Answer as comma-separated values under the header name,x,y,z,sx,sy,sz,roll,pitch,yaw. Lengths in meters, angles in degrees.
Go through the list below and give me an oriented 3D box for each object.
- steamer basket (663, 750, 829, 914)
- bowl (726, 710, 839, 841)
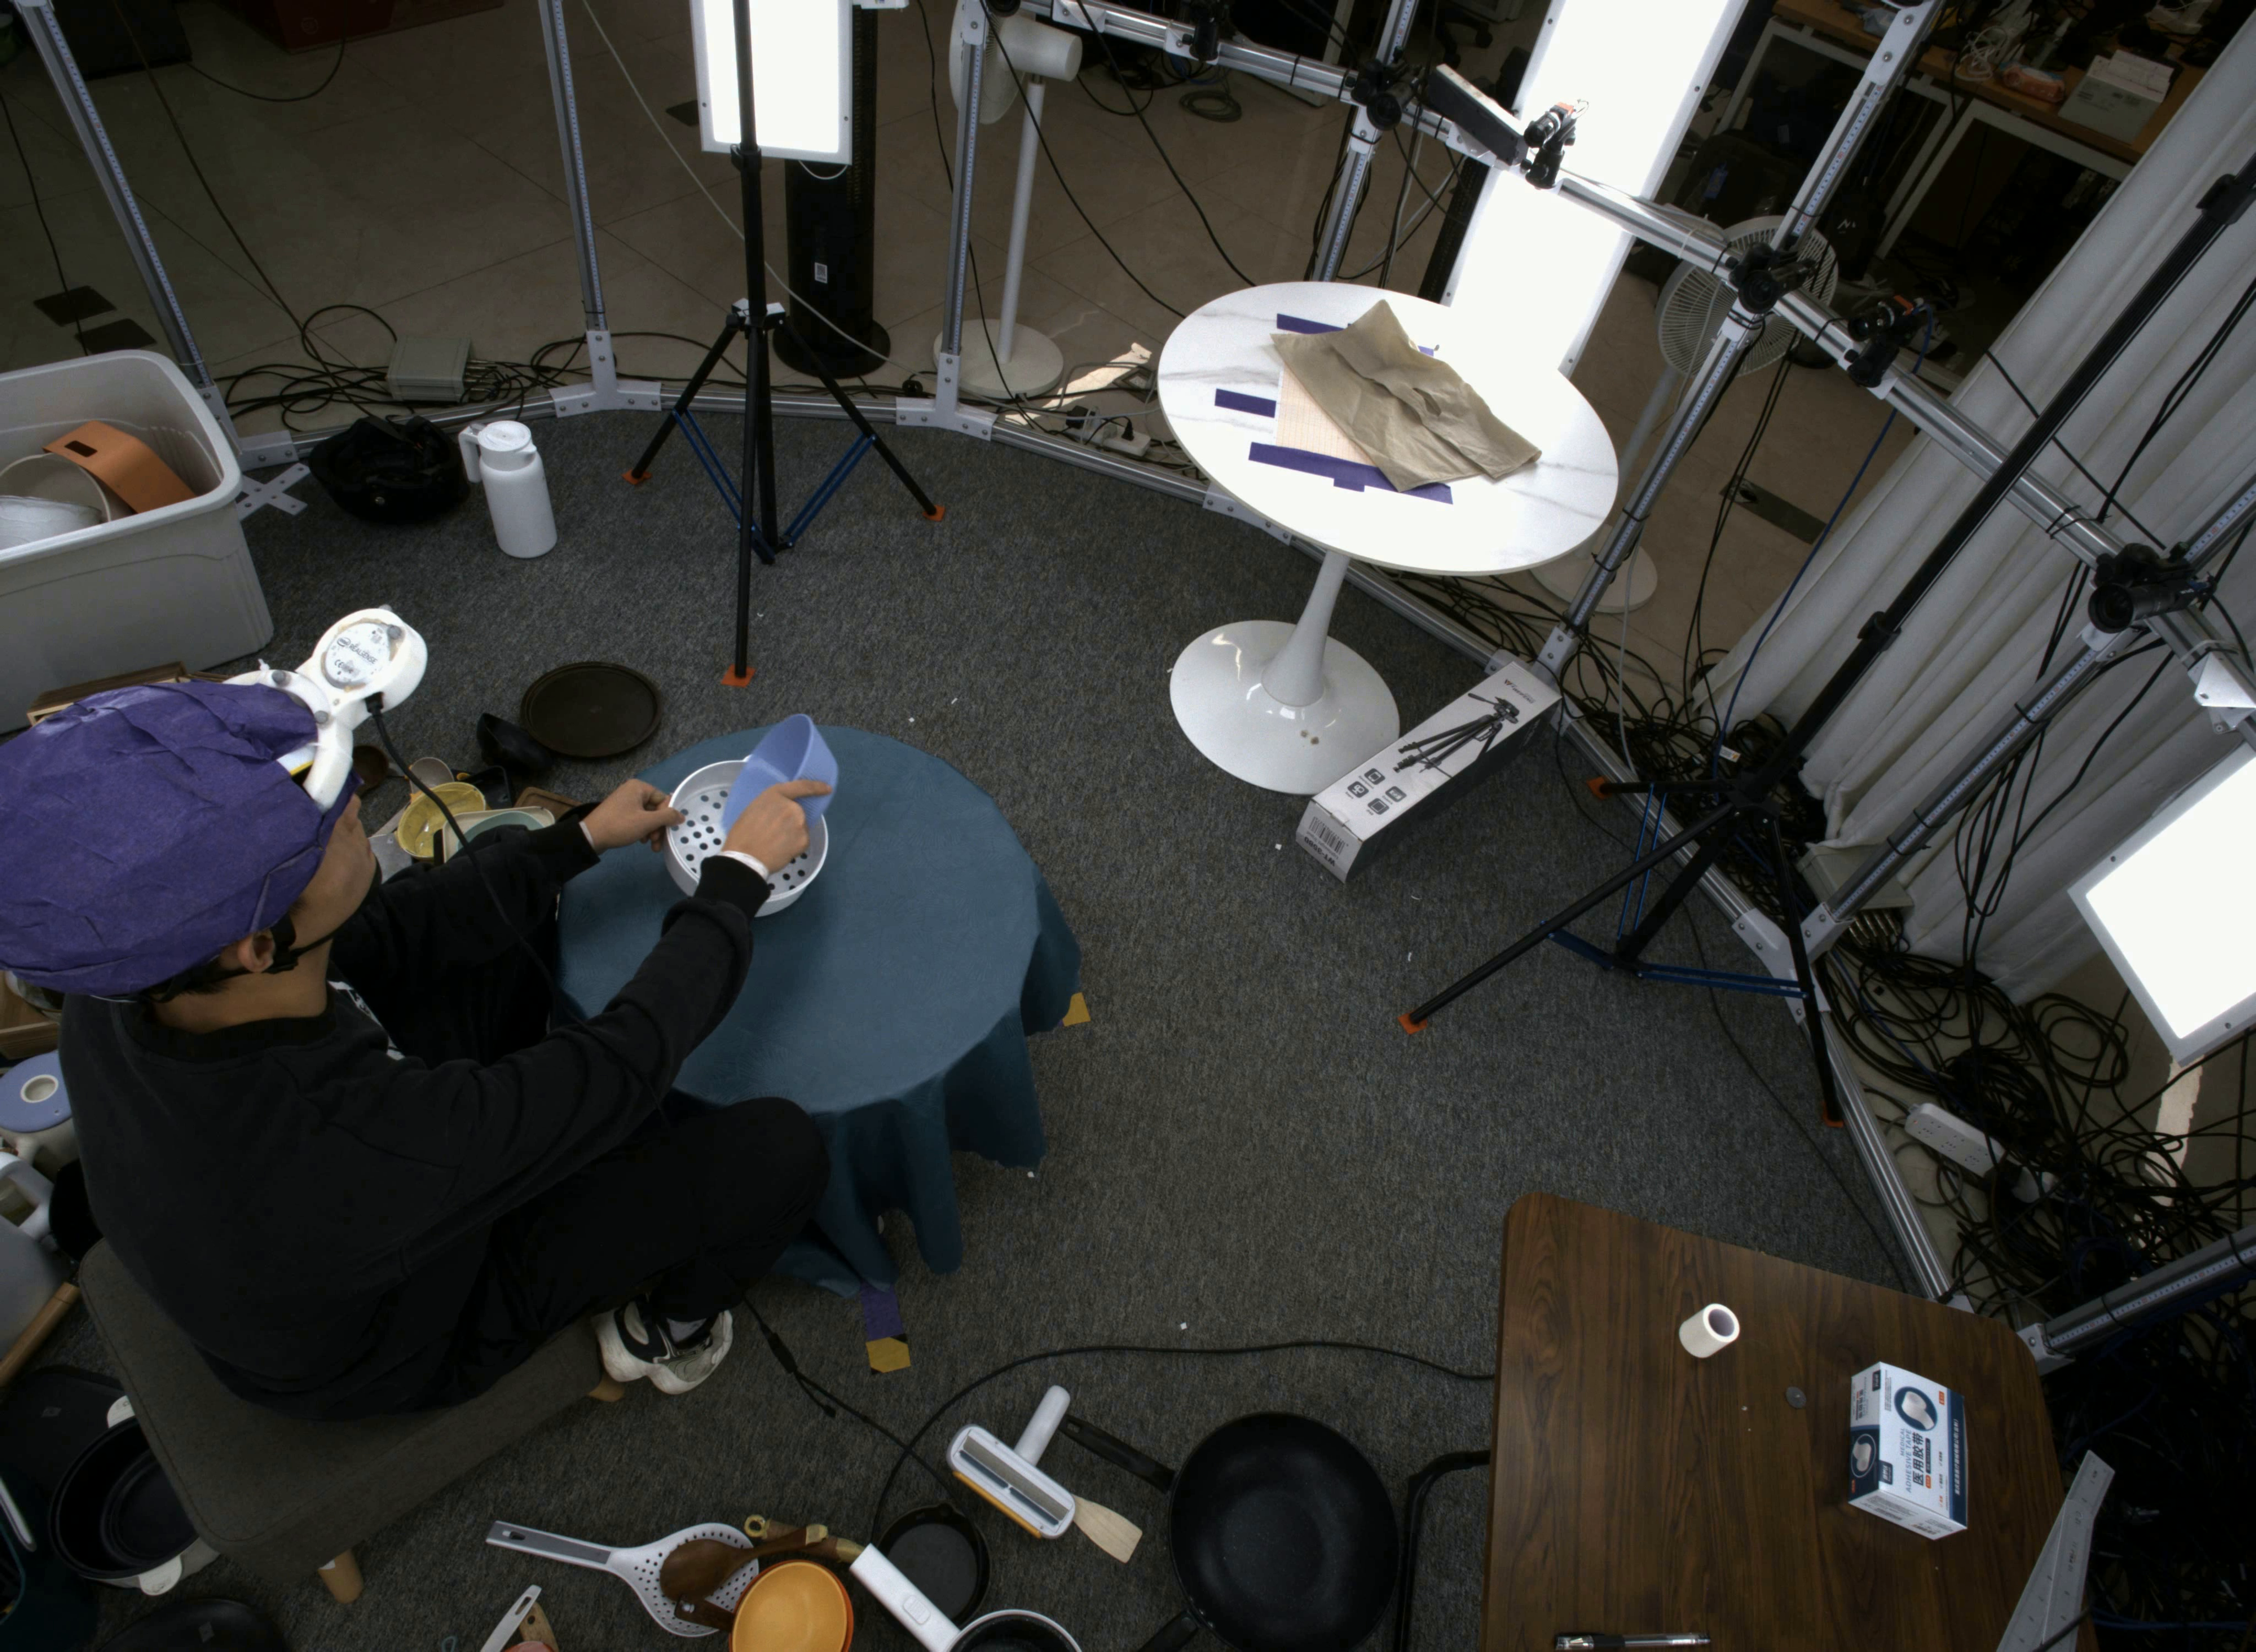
name,x,y,z,sx,sy,sz,roll,pitch,yaw
steamer basket,-0.484,0.012,1.632,0.205,0.069,0.227,22,51,-20
bowl,-0.415,-0.050,1.589,0.072,0.173,0.173,35,41,-34
